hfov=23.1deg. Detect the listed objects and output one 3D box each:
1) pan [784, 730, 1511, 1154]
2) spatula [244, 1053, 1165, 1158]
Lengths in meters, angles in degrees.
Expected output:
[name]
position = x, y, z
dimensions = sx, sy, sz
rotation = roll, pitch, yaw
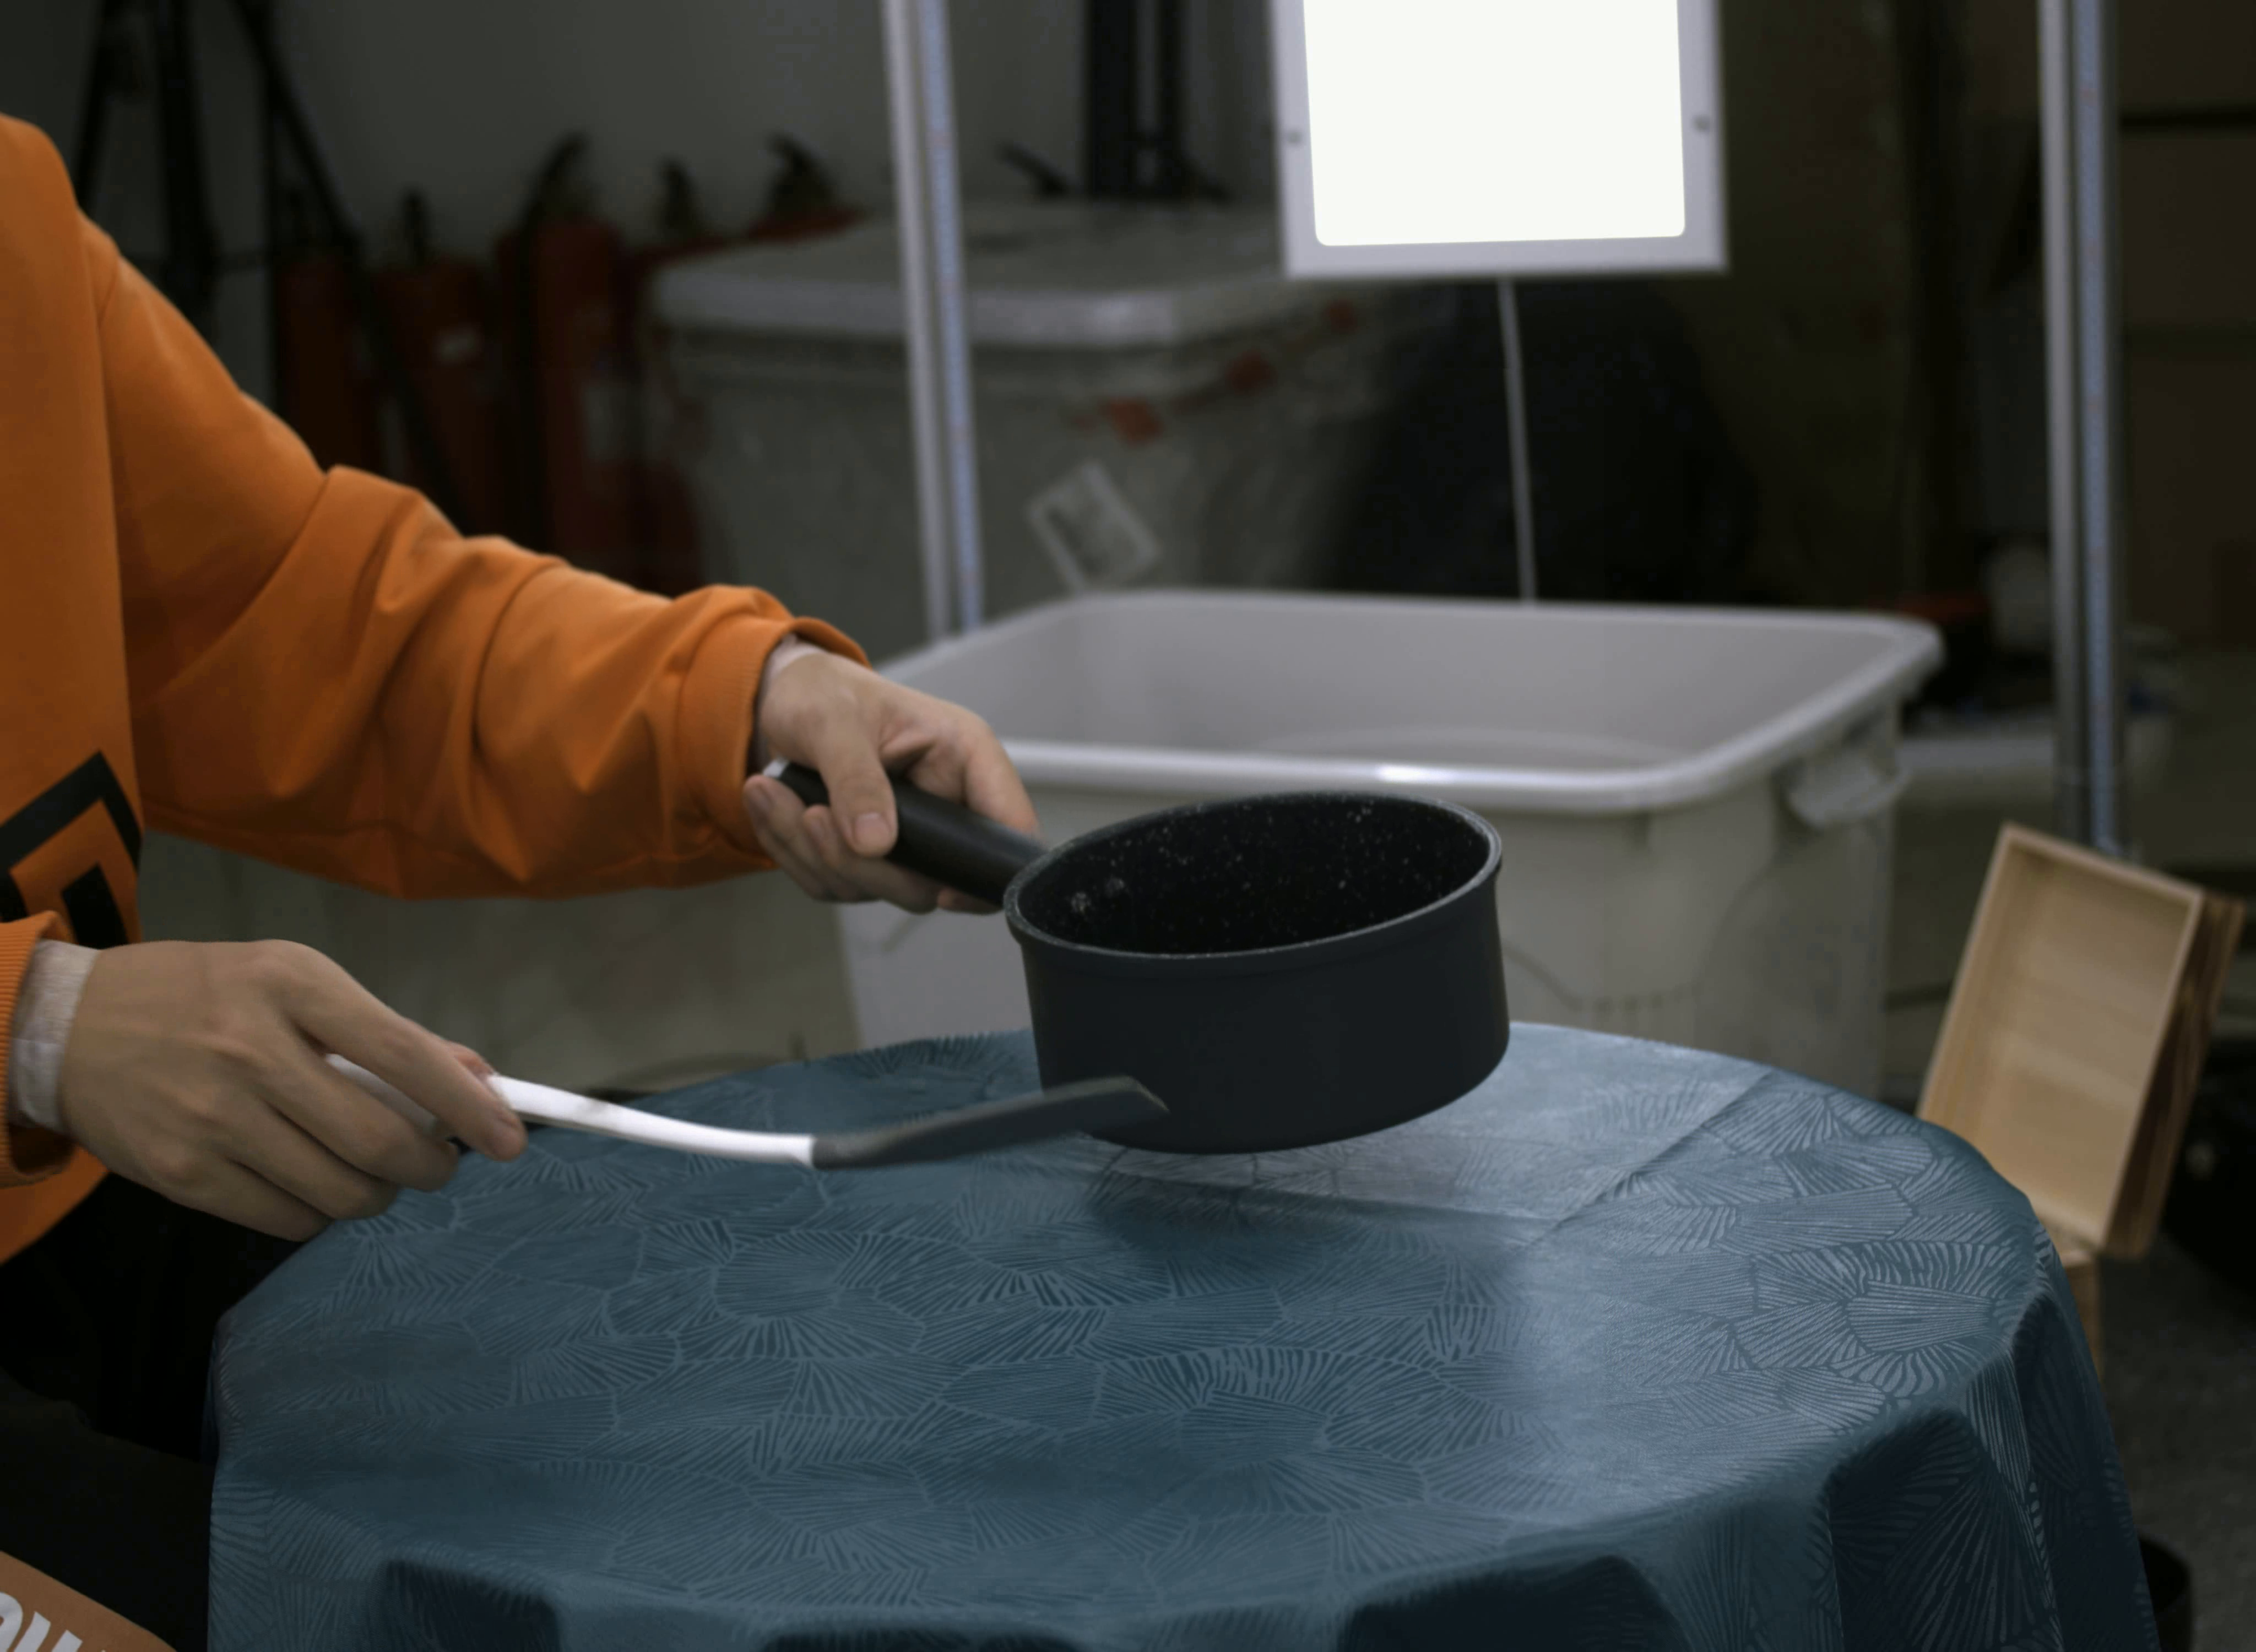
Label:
[pan]
position = -0.007, 0.034, 1.944
dimensions = 0.168, 0.087, 0.335
rotation = -21, 23, -37
[spatula]
position = -0.132, 0.085, 1.691
dimensions = 0.290, 0.032, 0.058
rotation = -1, -19, 15
